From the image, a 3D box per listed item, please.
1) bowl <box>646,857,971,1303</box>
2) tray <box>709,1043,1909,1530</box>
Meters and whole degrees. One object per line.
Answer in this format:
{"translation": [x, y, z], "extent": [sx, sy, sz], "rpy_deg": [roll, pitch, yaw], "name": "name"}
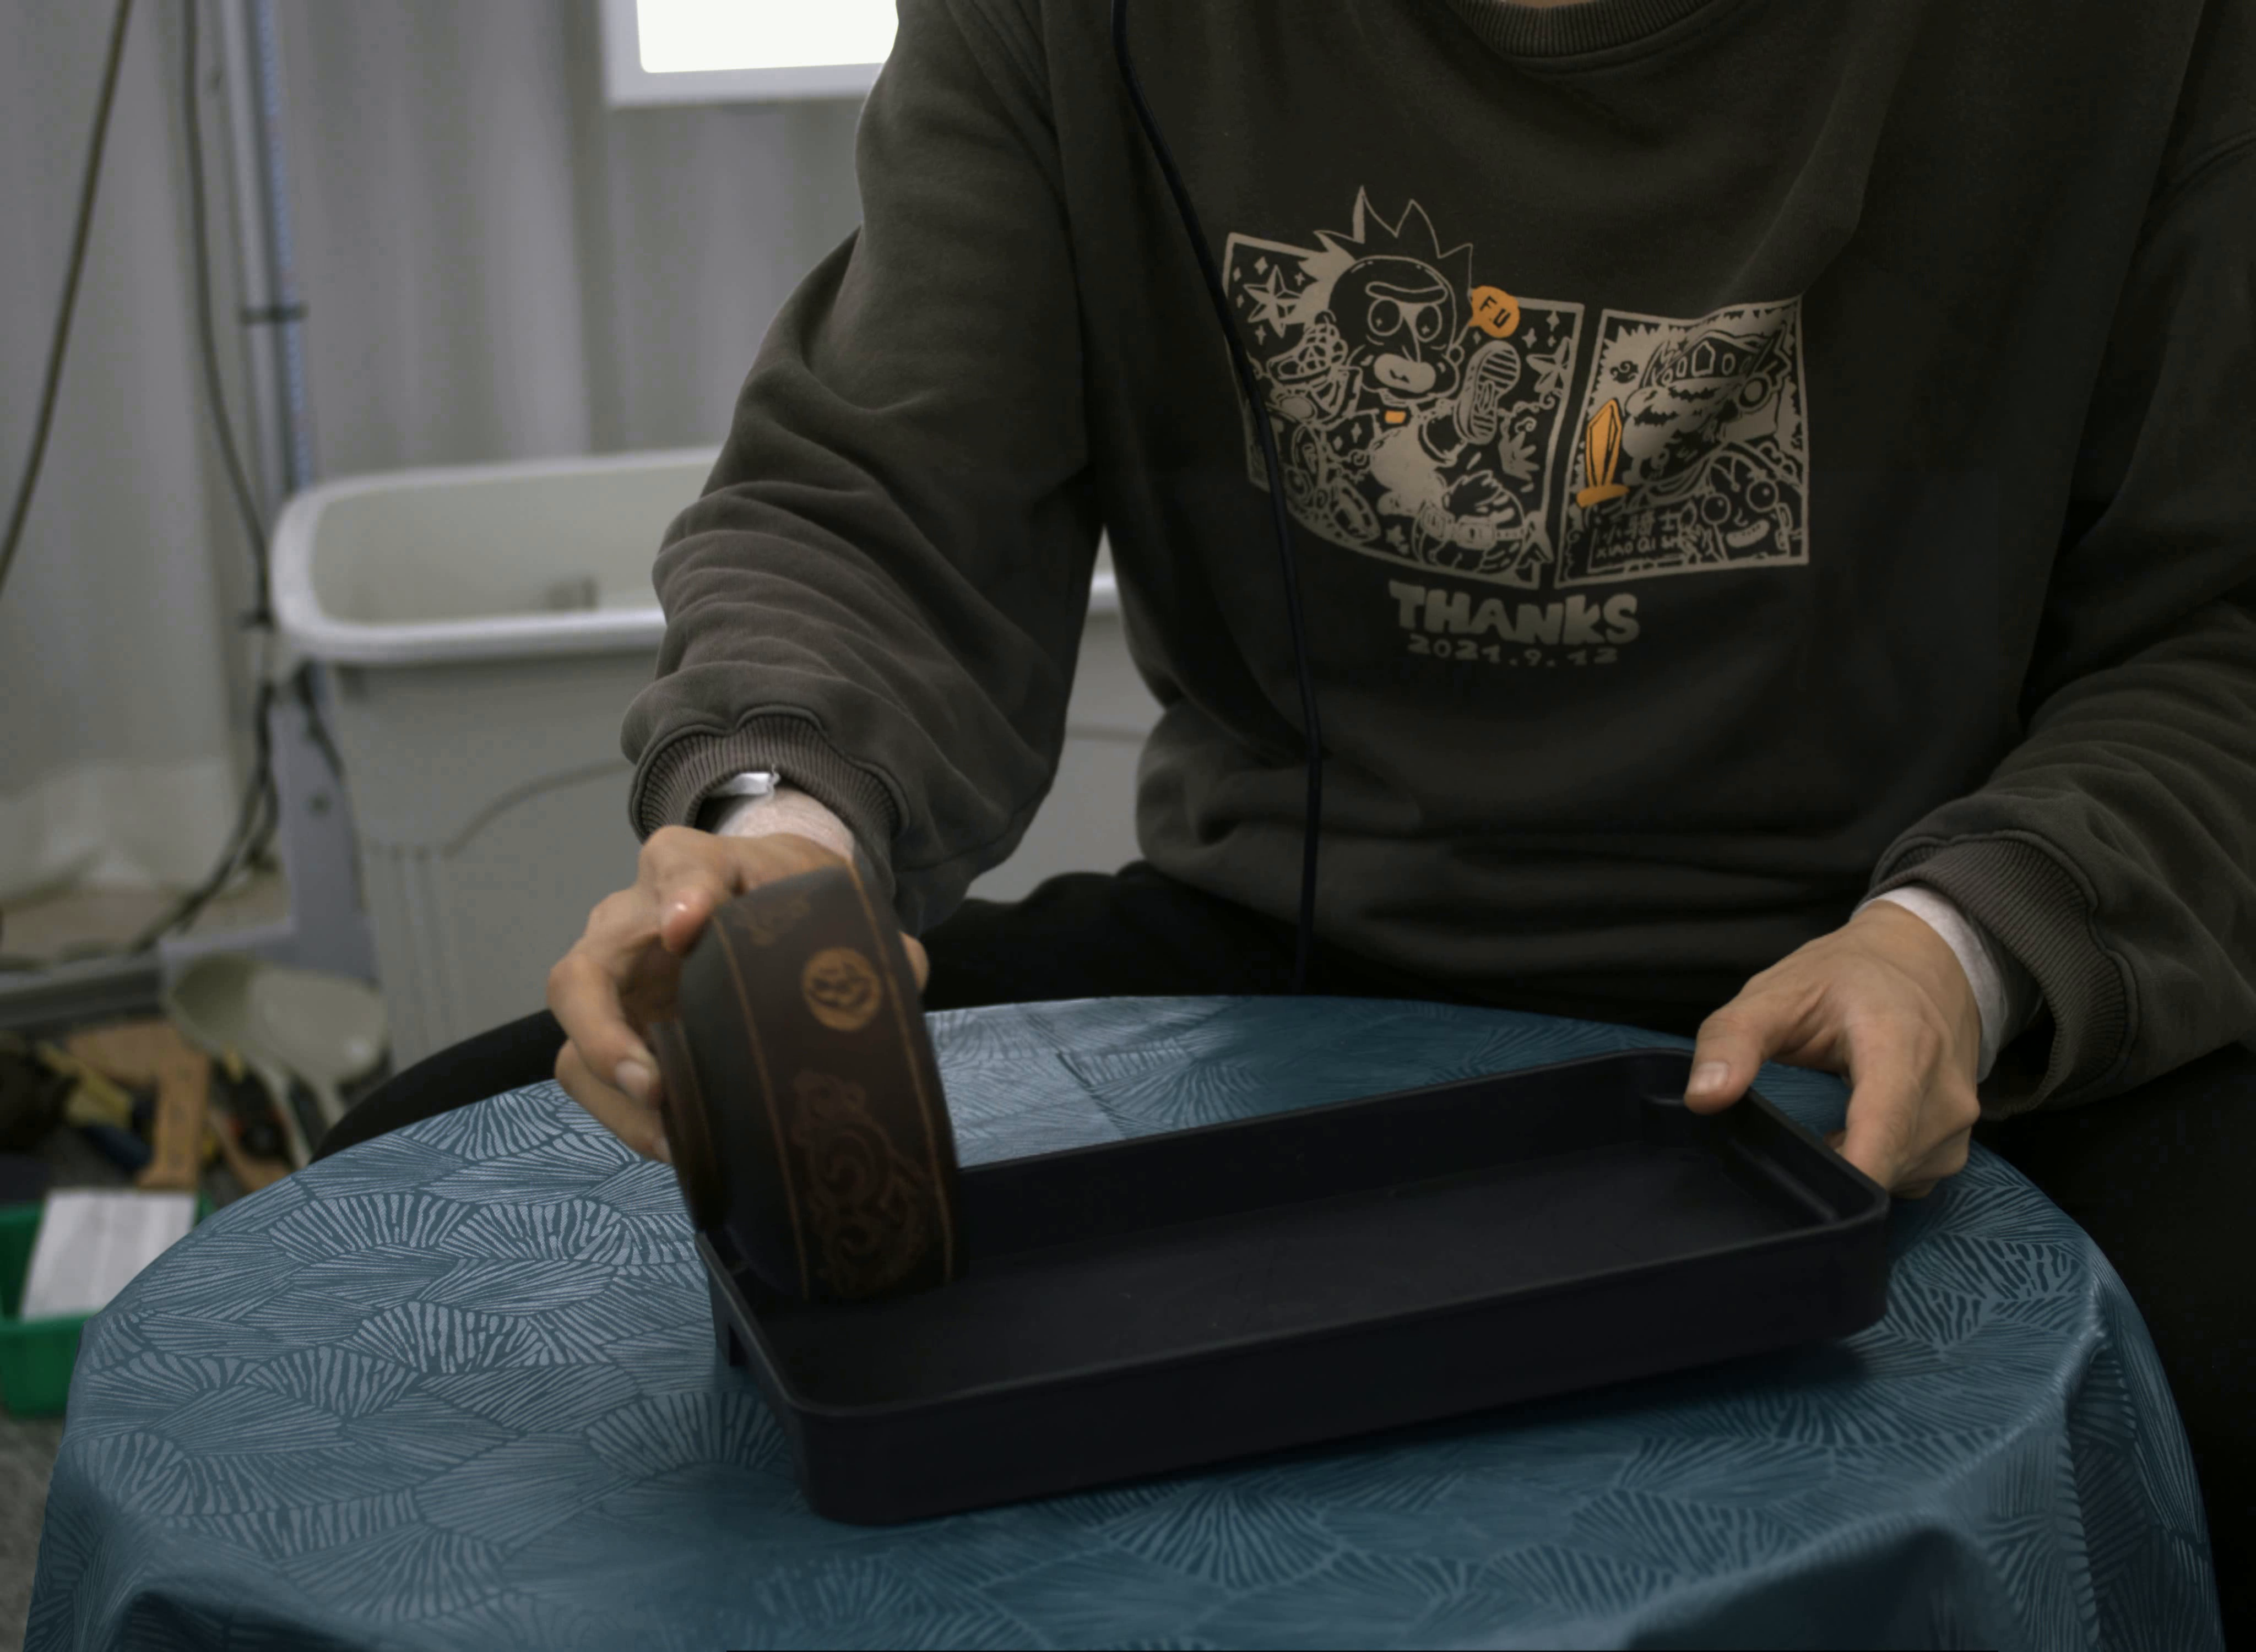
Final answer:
{"translation": [-0.090, 0.072, 1.472], "extent": [0.069, 0.117, 0.119], "rpy_deg": [-13, 16, -10], "name": "bowl"}
{"translation": [0.050, 0.128, 1.571], "extent": [0.317, 0.037, 0.185], "rpy_deg": [-10, 15, -14], "name": "tray"}
